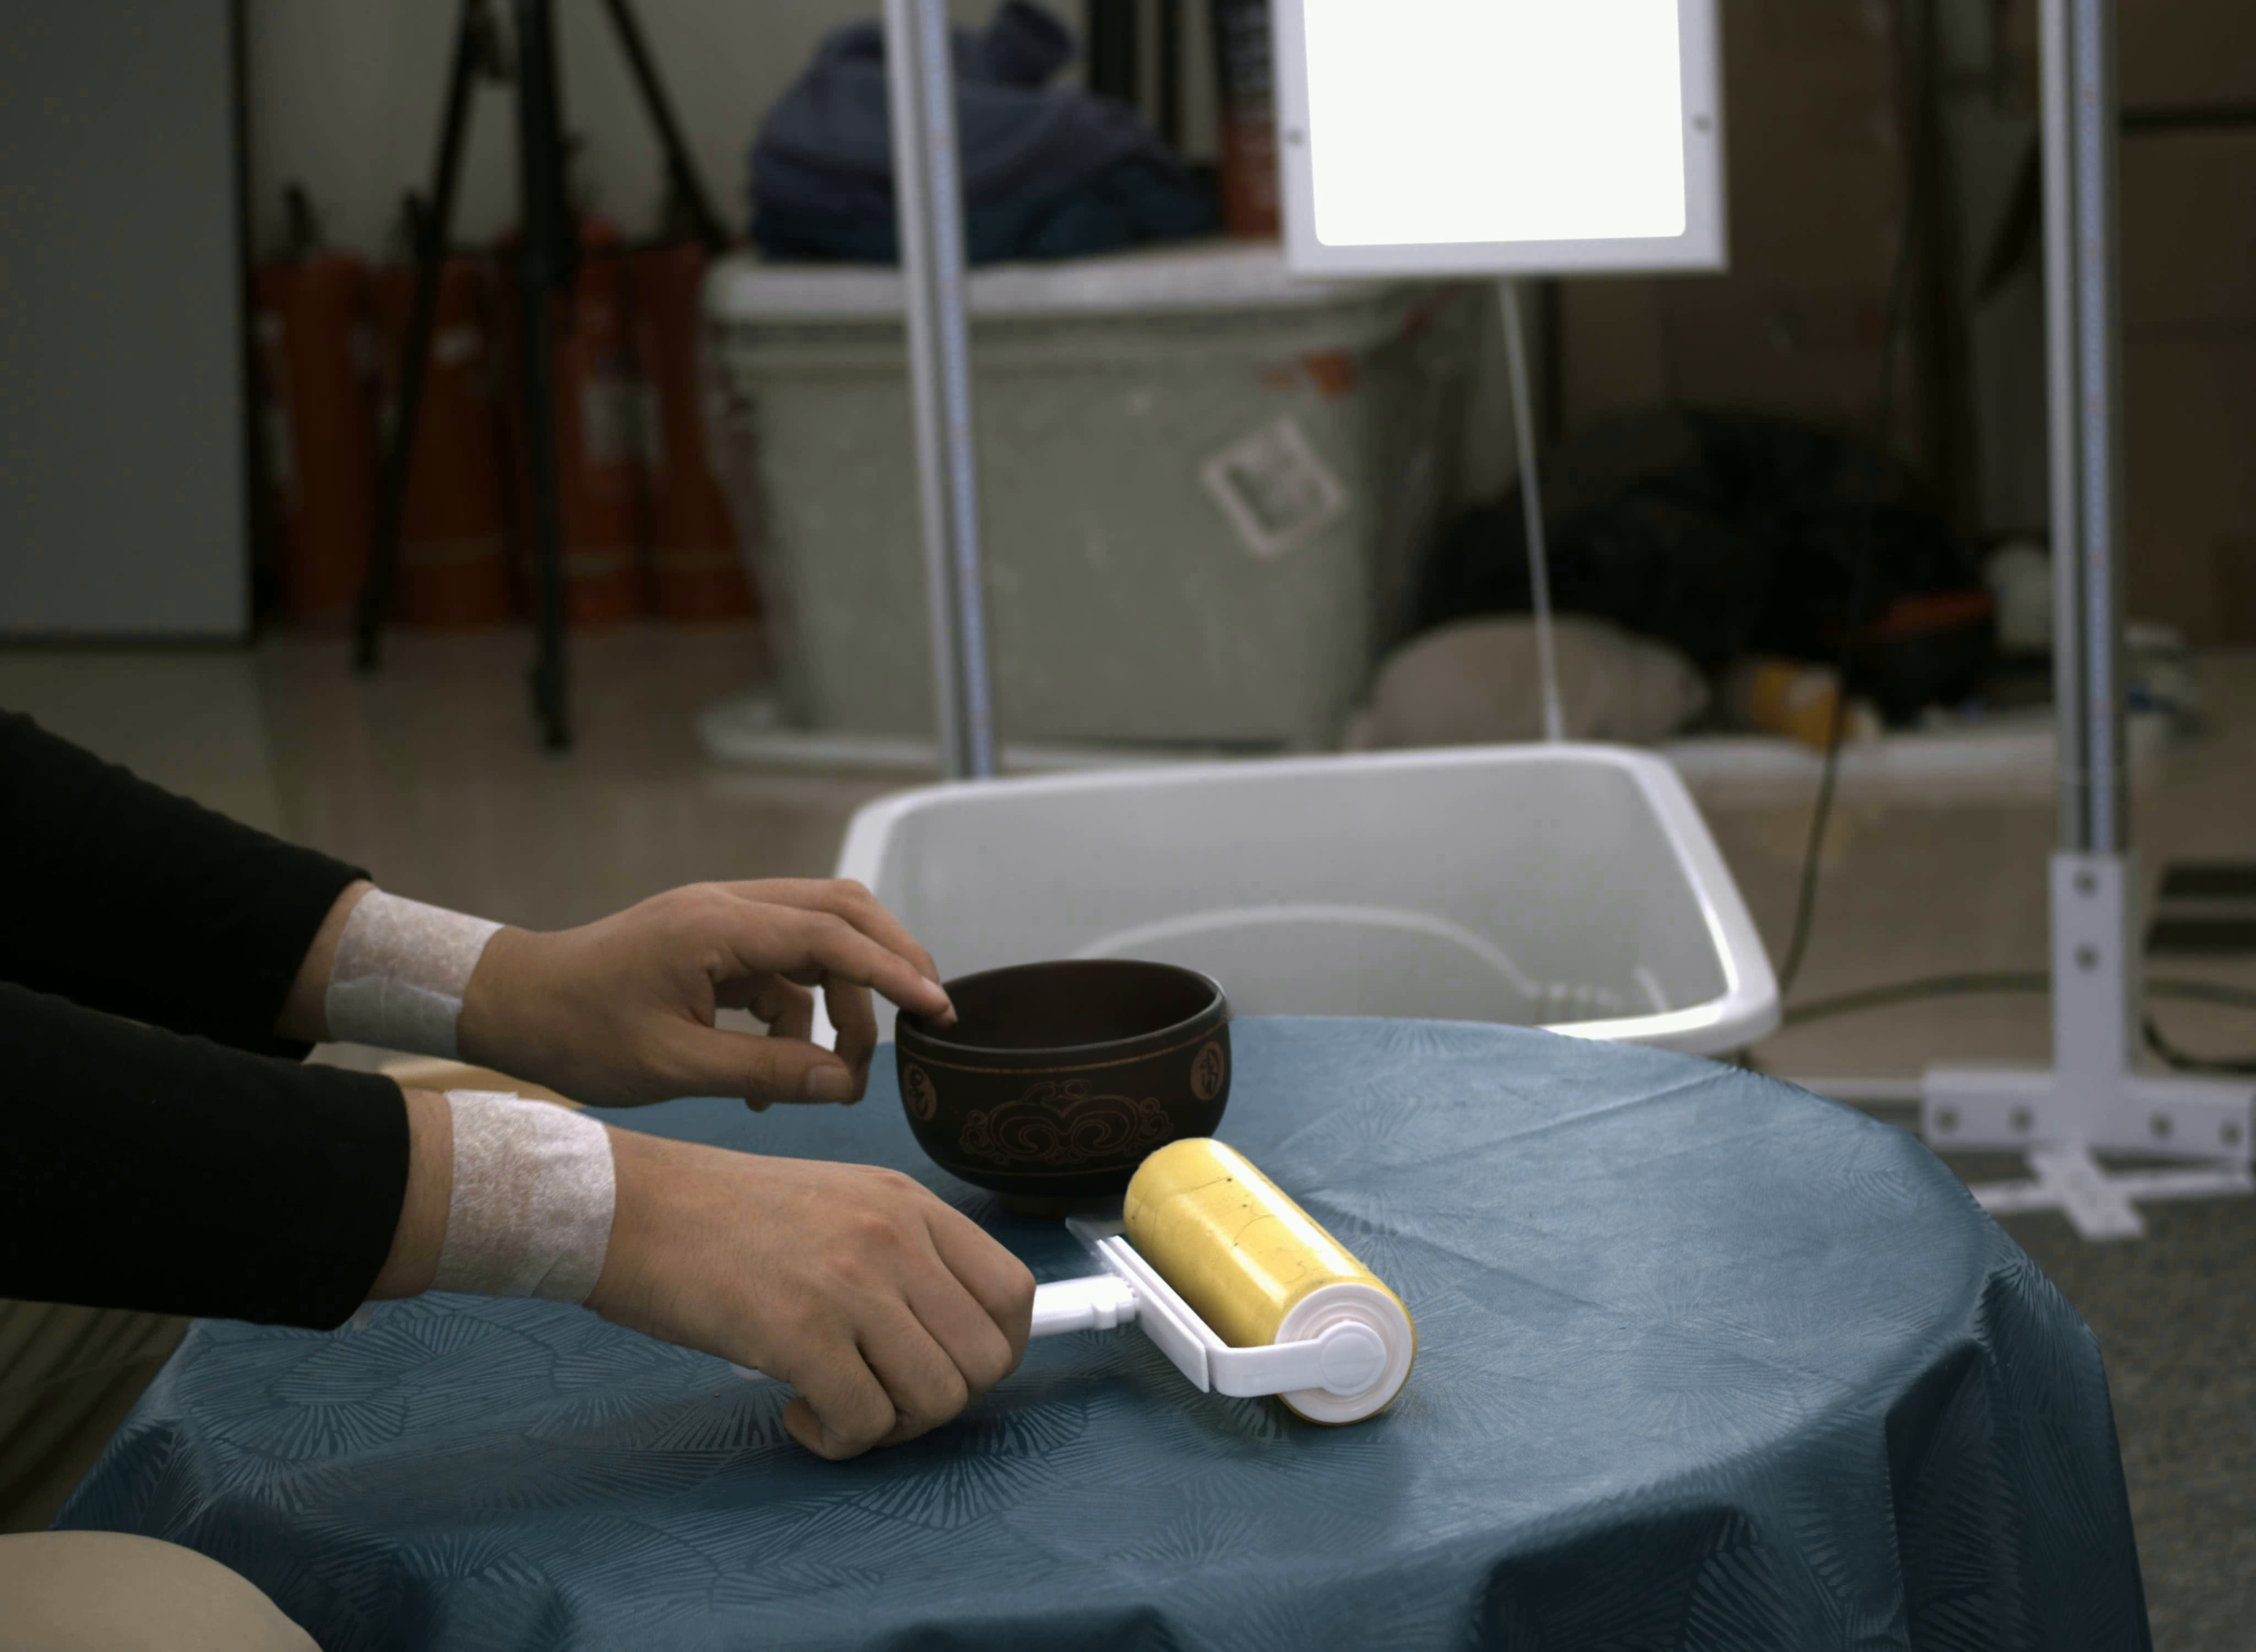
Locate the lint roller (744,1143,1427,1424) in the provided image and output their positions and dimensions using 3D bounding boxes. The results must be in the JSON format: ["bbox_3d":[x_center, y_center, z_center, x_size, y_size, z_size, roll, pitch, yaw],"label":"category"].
[{"bbox_3d":[-0.024,0.143,1.705,0.189,0.051,0.176,1,12,-17],"label":"lint roller"}]

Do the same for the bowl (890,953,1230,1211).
[{"bbox_3d":[-0.022,0.091,1.893,0.117,0.070,0.118,-4,13,0],"label":"bowl"}]
